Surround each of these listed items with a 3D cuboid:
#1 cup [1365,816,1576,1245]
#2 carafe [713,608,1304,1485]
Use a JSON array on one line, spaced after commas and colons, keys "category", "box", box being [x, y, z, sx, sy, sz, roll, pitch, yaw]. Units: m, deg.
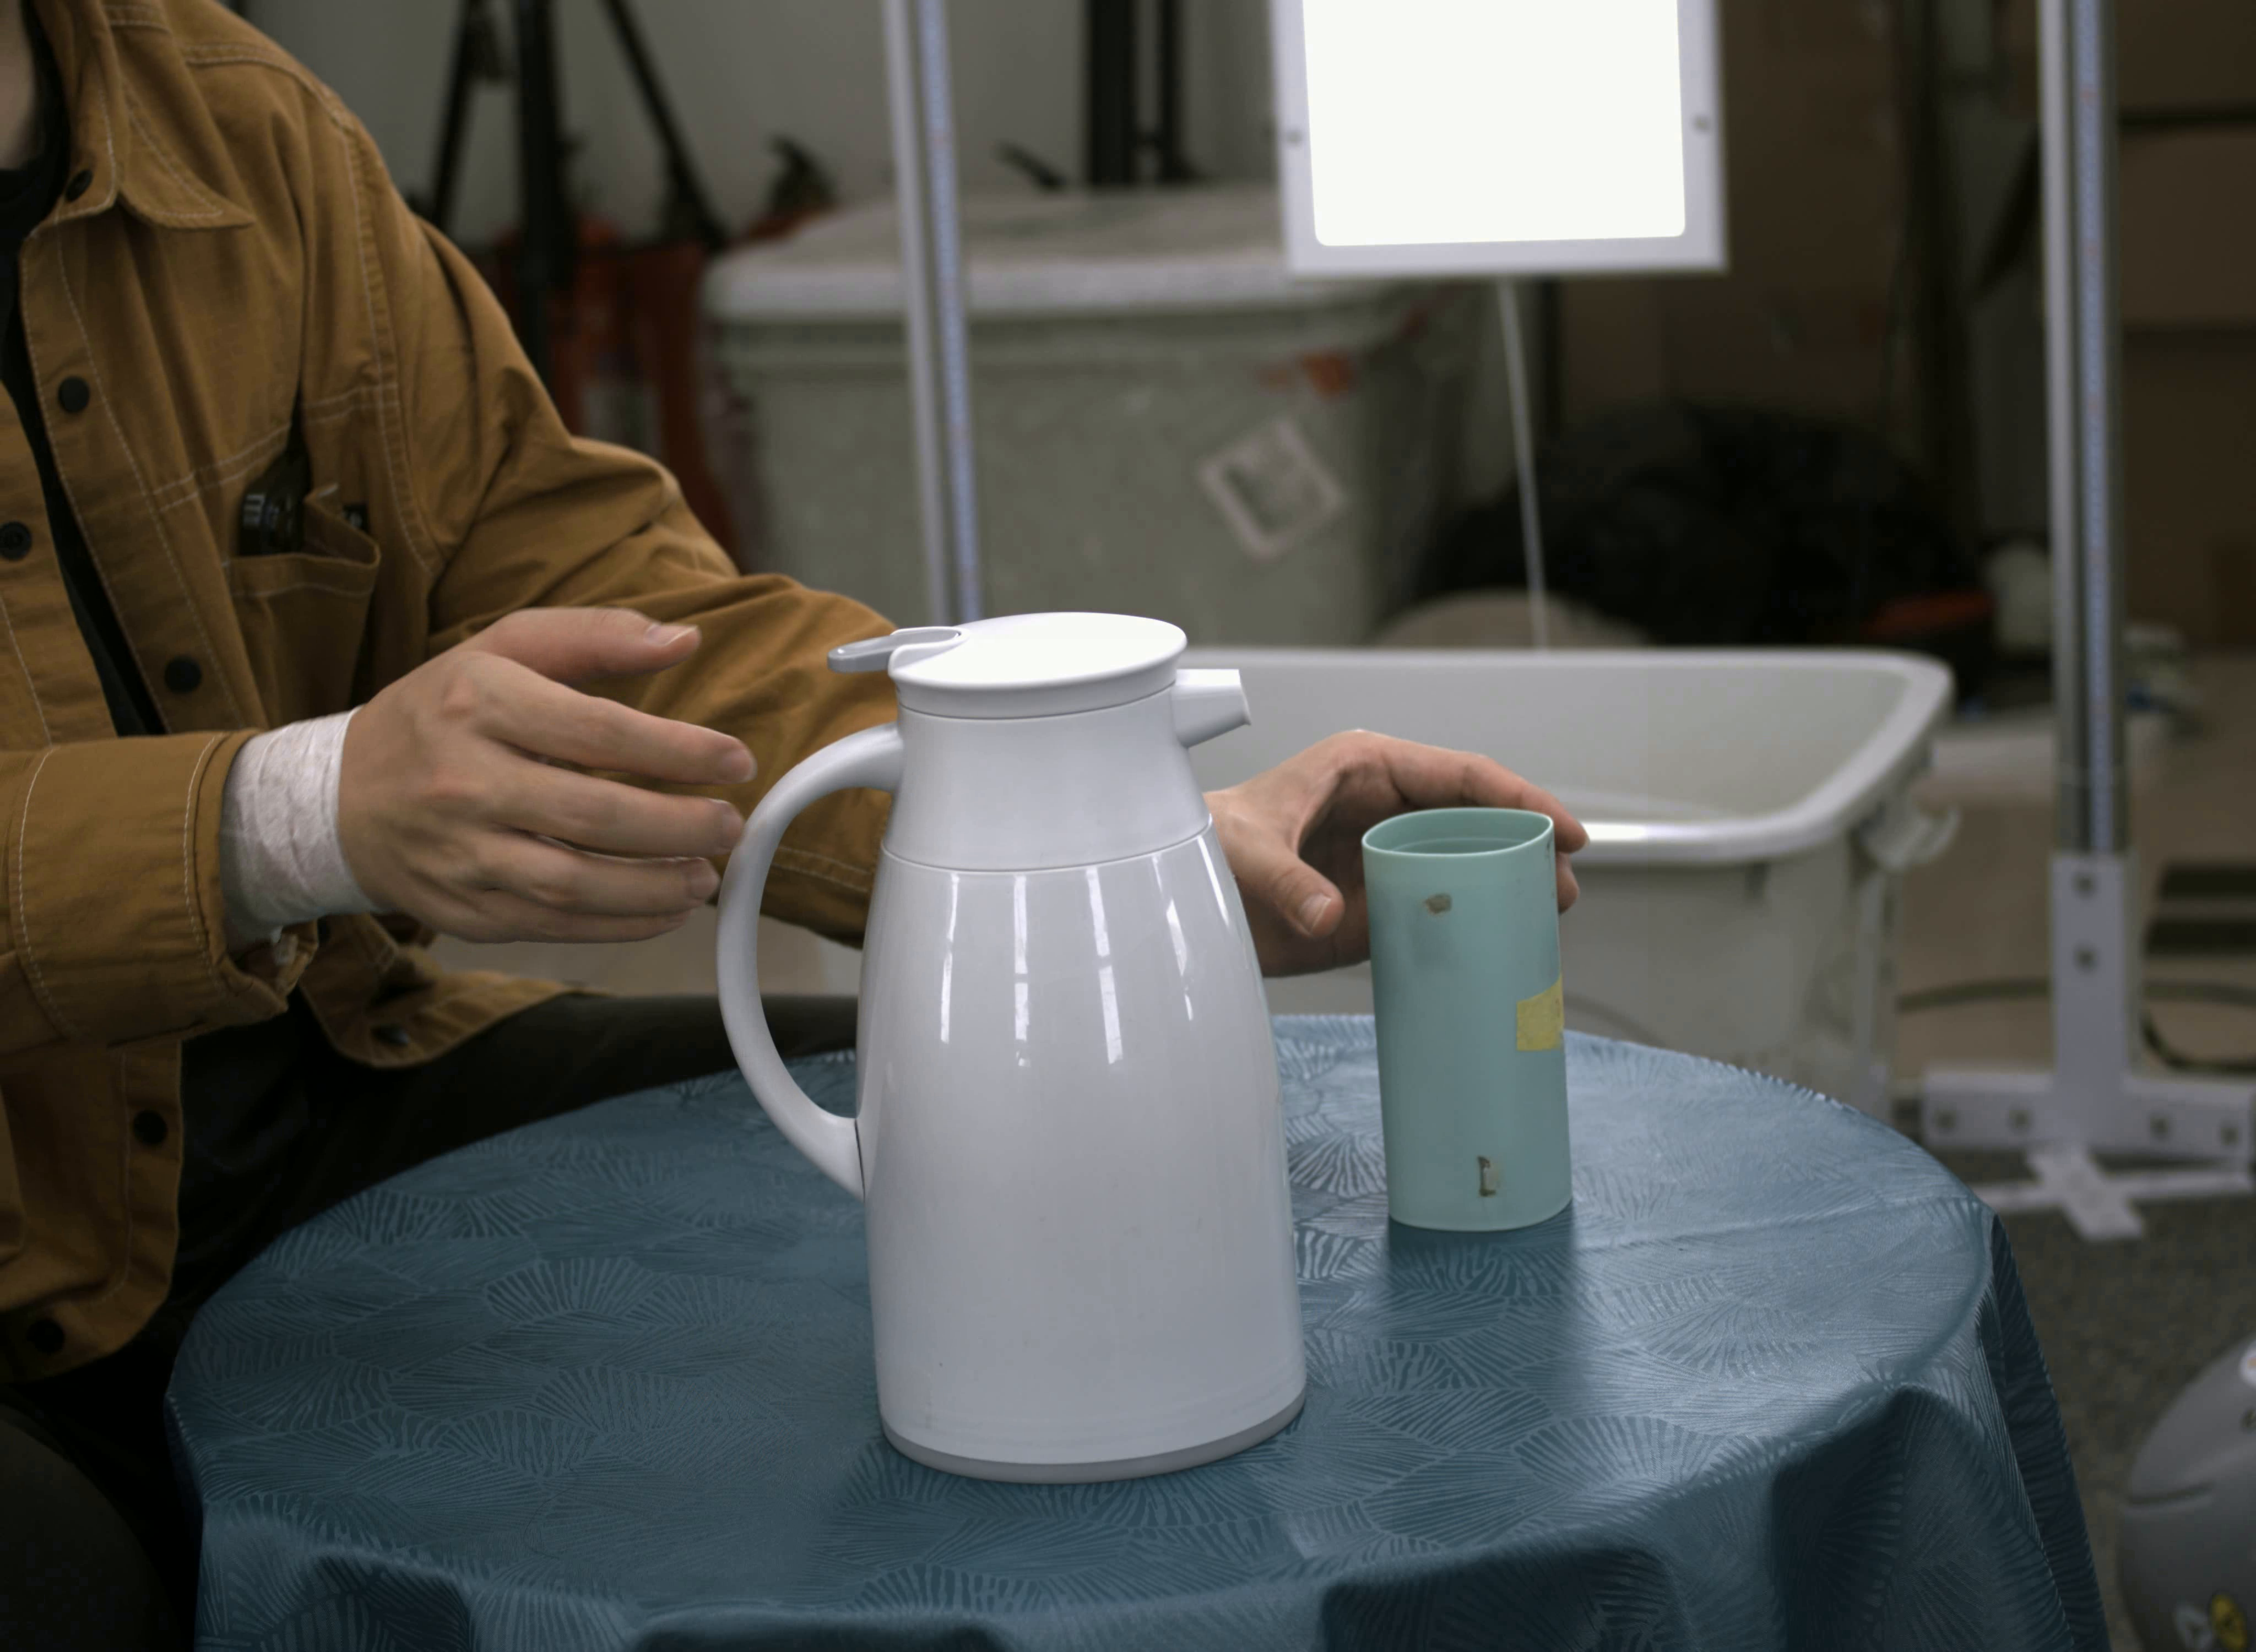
[{"category": "cup", "box": [0.114, 0.067, 1.837, 0.066, 0.133, 0.066, -4, 13, 0]}, {"category": "carafe", "box": [-0.039, 0.061, 1.659, 0.167, 0.249, 0.132, -5, 14, 1]}]
